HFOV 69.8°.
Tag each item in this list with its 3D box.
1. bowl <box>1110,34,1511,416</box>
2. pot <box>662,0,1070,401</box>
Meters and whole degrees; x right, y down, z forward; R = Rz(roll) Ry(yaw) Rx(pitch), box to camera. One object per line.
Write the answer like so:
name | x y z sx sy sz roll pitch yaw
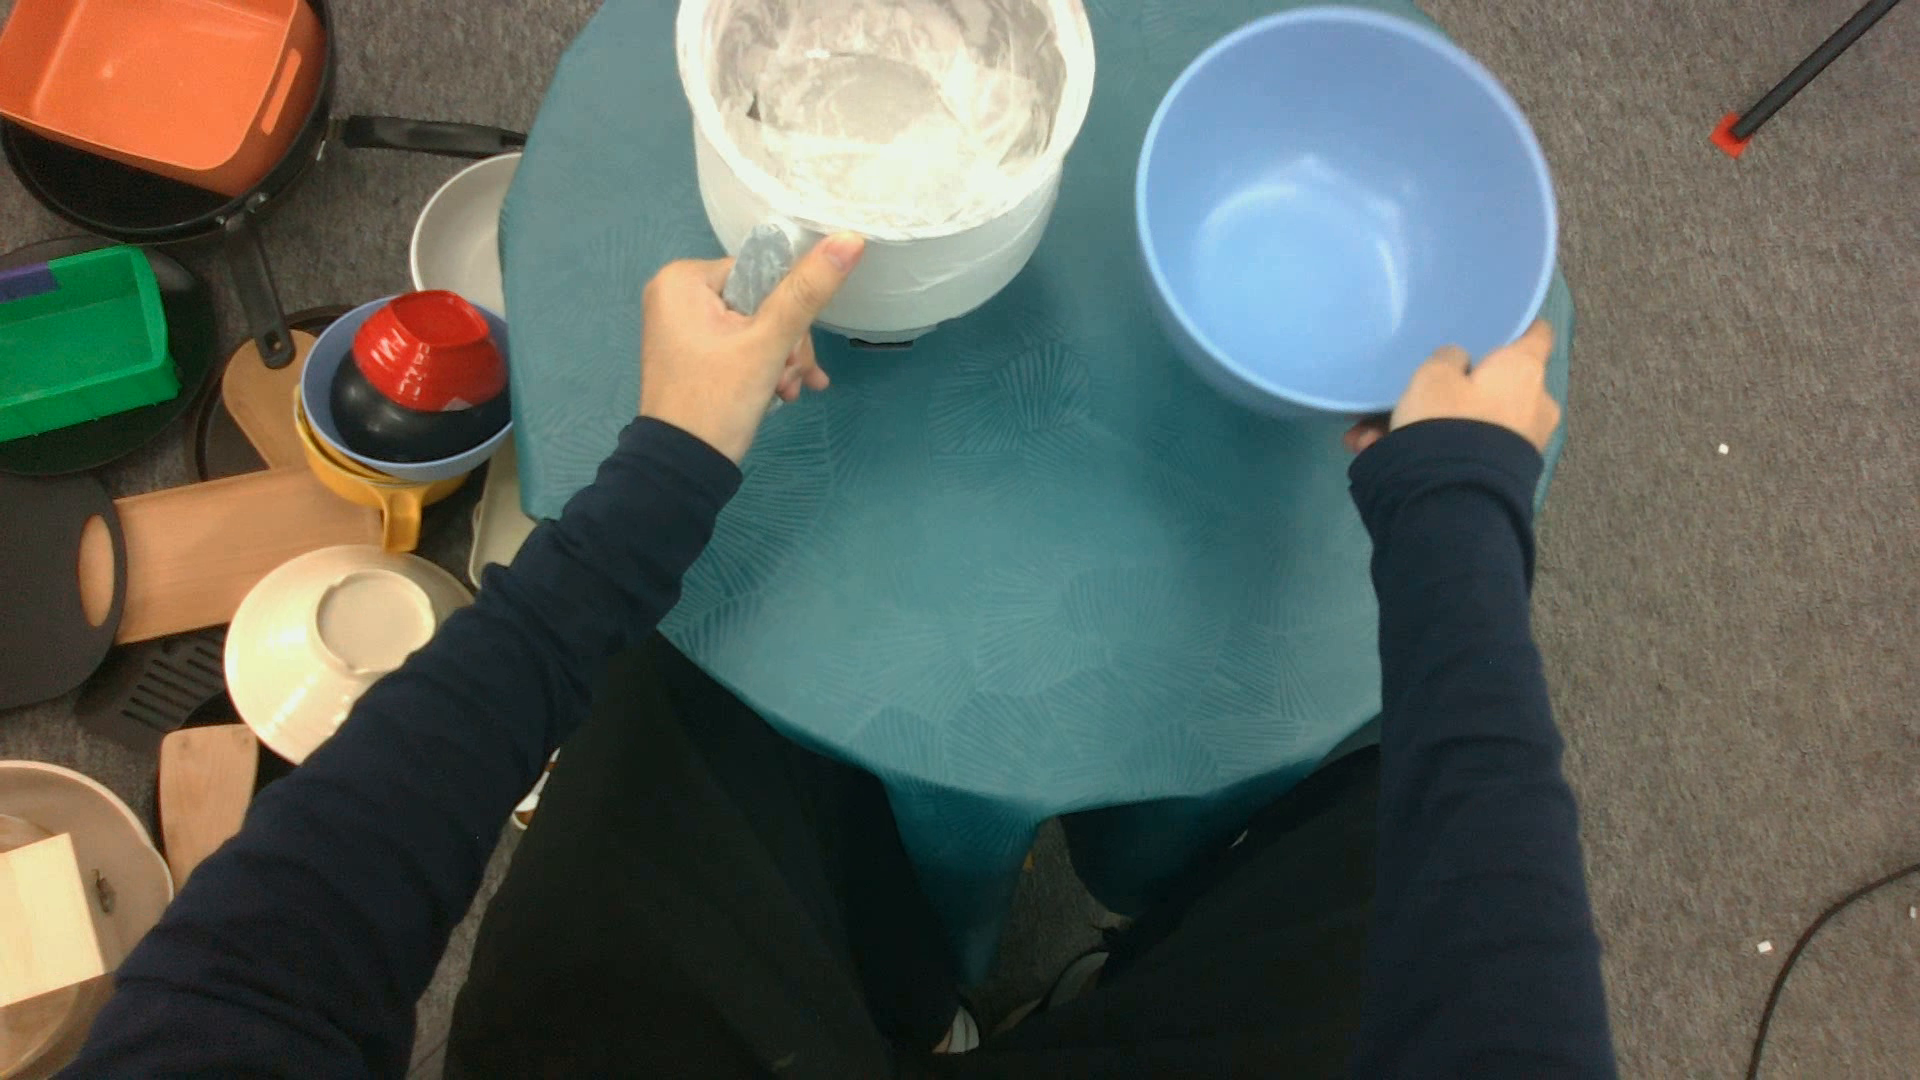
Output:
bowl | 0.162 -0.143 0.694 0.196 0.095 0.197 2 72 -7
pot | -0.056 -0.180 0.647 0.179 0.136 0.234 25 74 2
